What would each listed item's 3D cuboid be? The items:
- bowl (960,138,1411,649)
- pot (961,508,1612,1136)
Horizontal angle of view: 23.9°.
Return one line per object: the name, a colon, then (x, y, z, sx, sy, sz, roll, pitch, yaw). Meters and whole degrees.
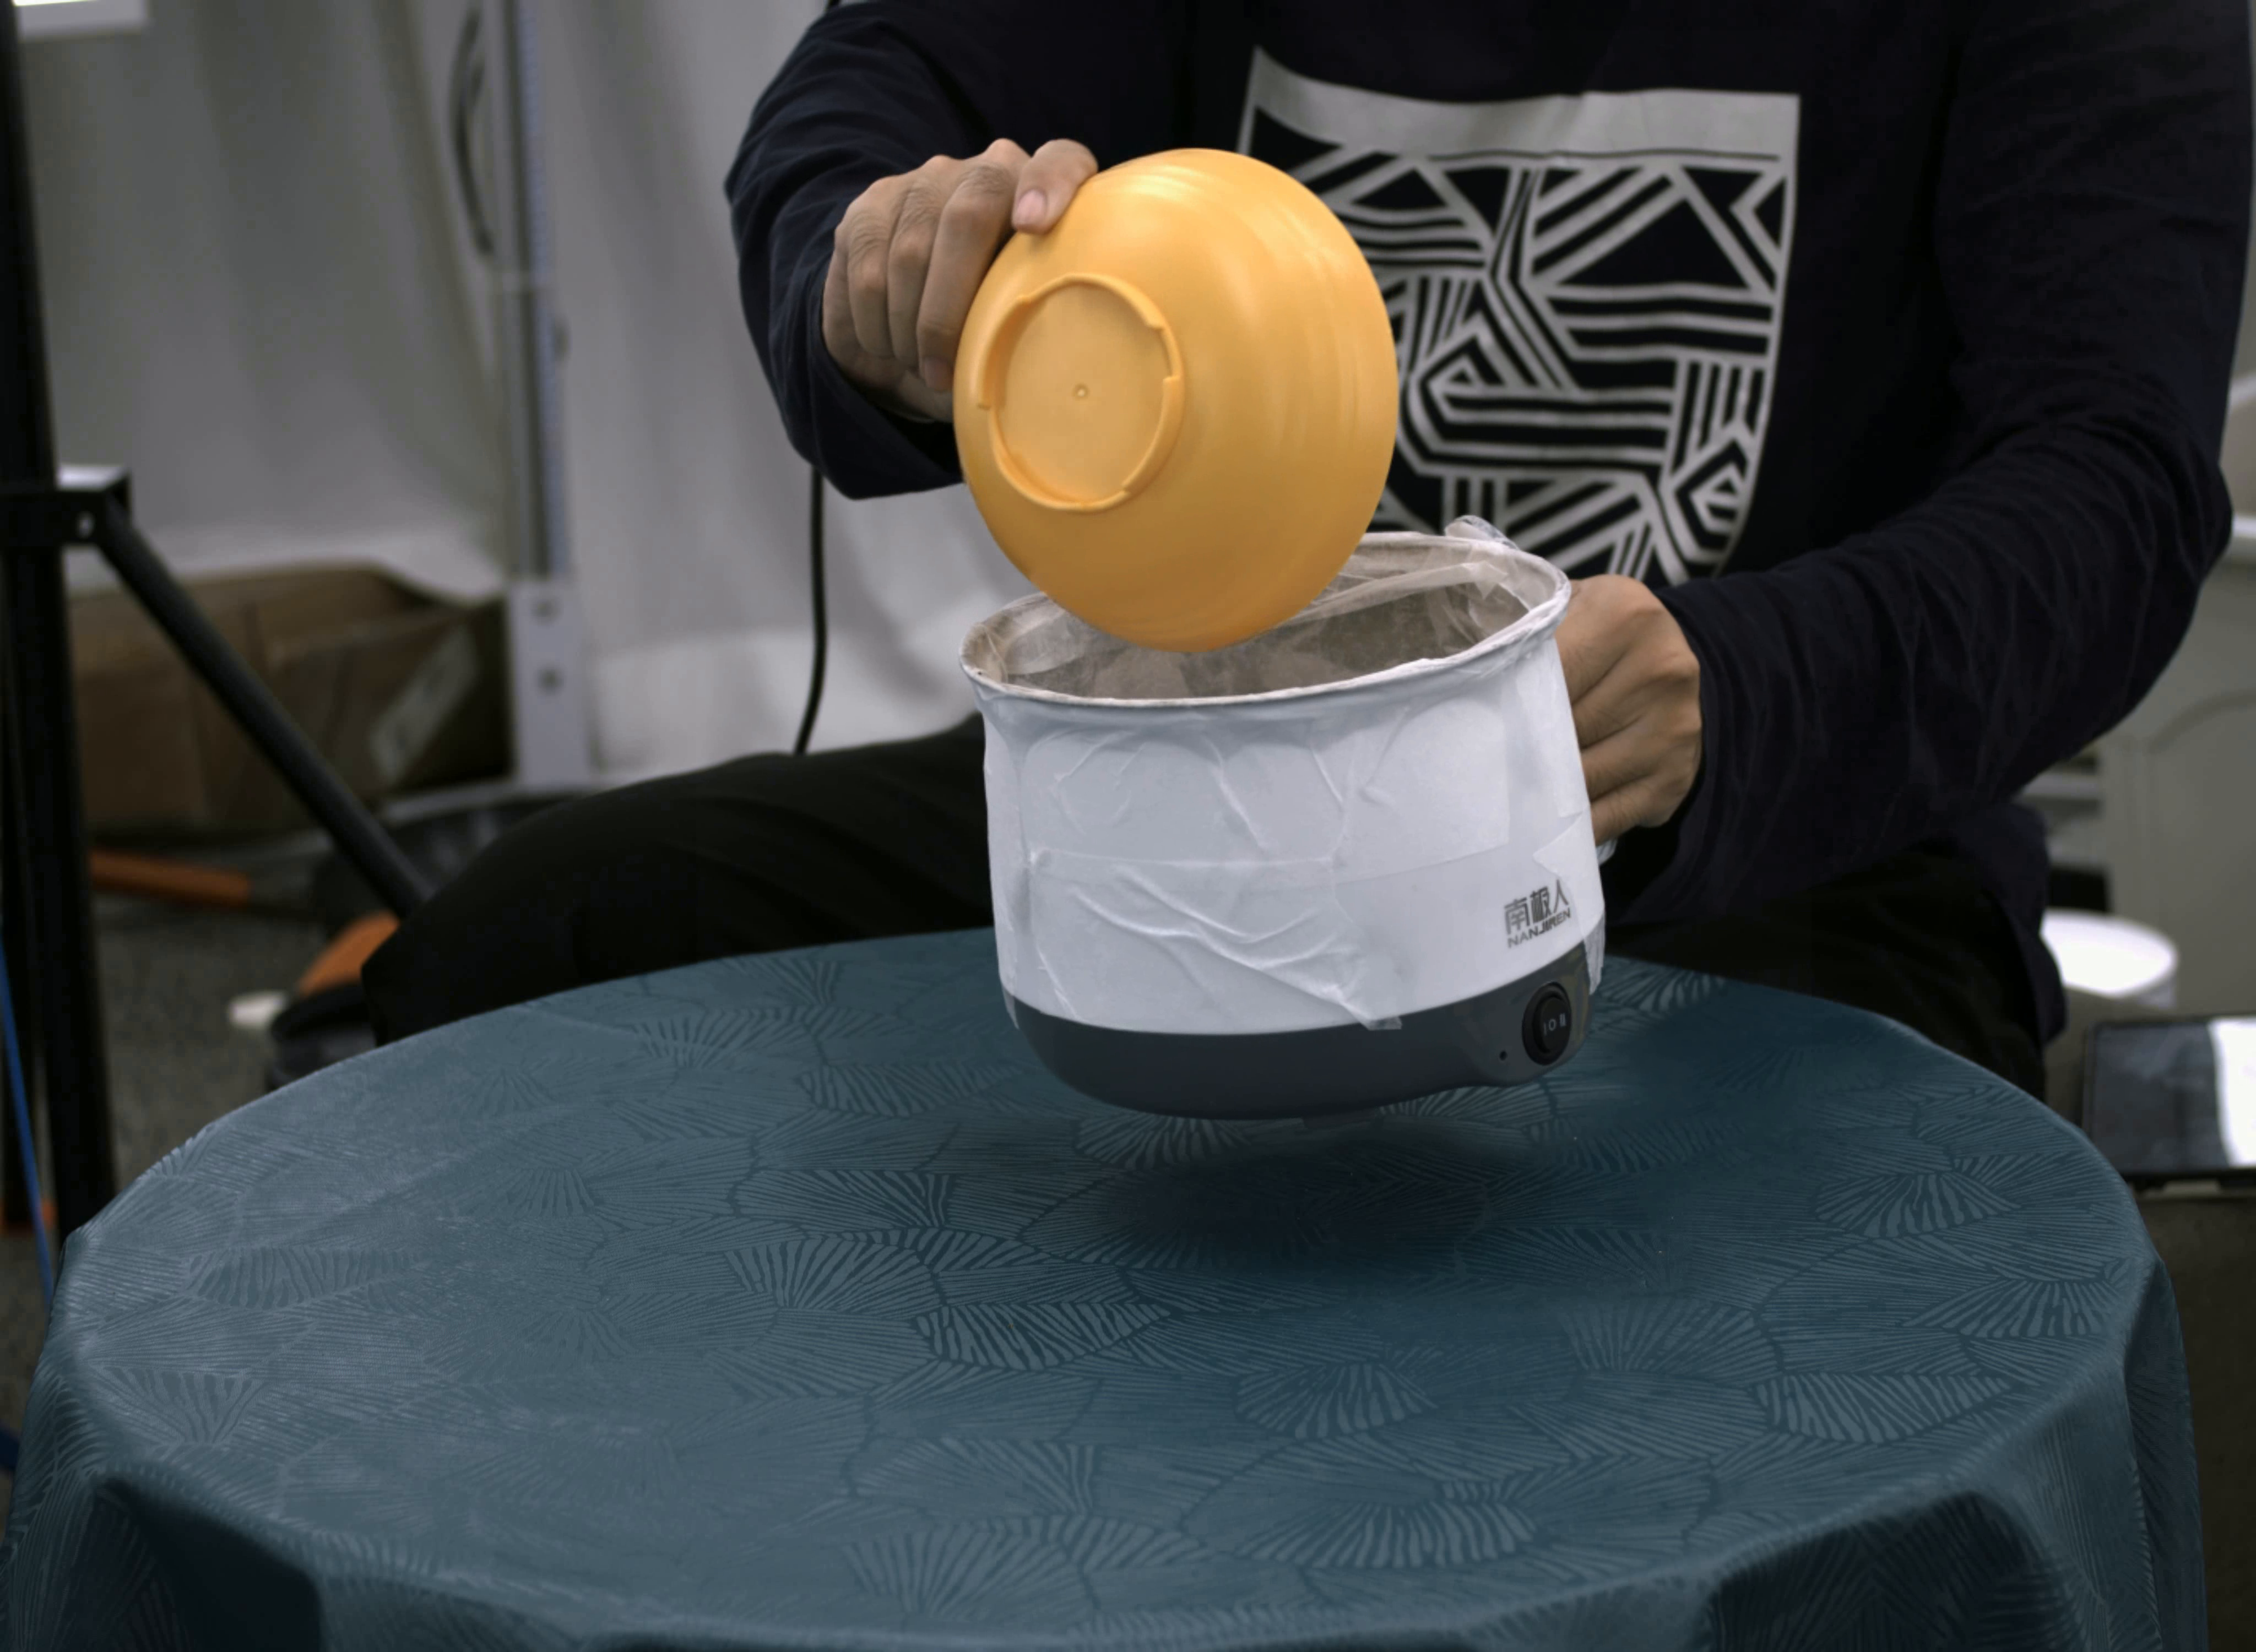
bowl: (0.004, -0.123, 1.505, 0.148, 0.146, 0.058, 9, 5, 34)
pot: (0.062, -0.008, 1.554, 0.182, 0.136, 0.229, 9, 23, 38)
